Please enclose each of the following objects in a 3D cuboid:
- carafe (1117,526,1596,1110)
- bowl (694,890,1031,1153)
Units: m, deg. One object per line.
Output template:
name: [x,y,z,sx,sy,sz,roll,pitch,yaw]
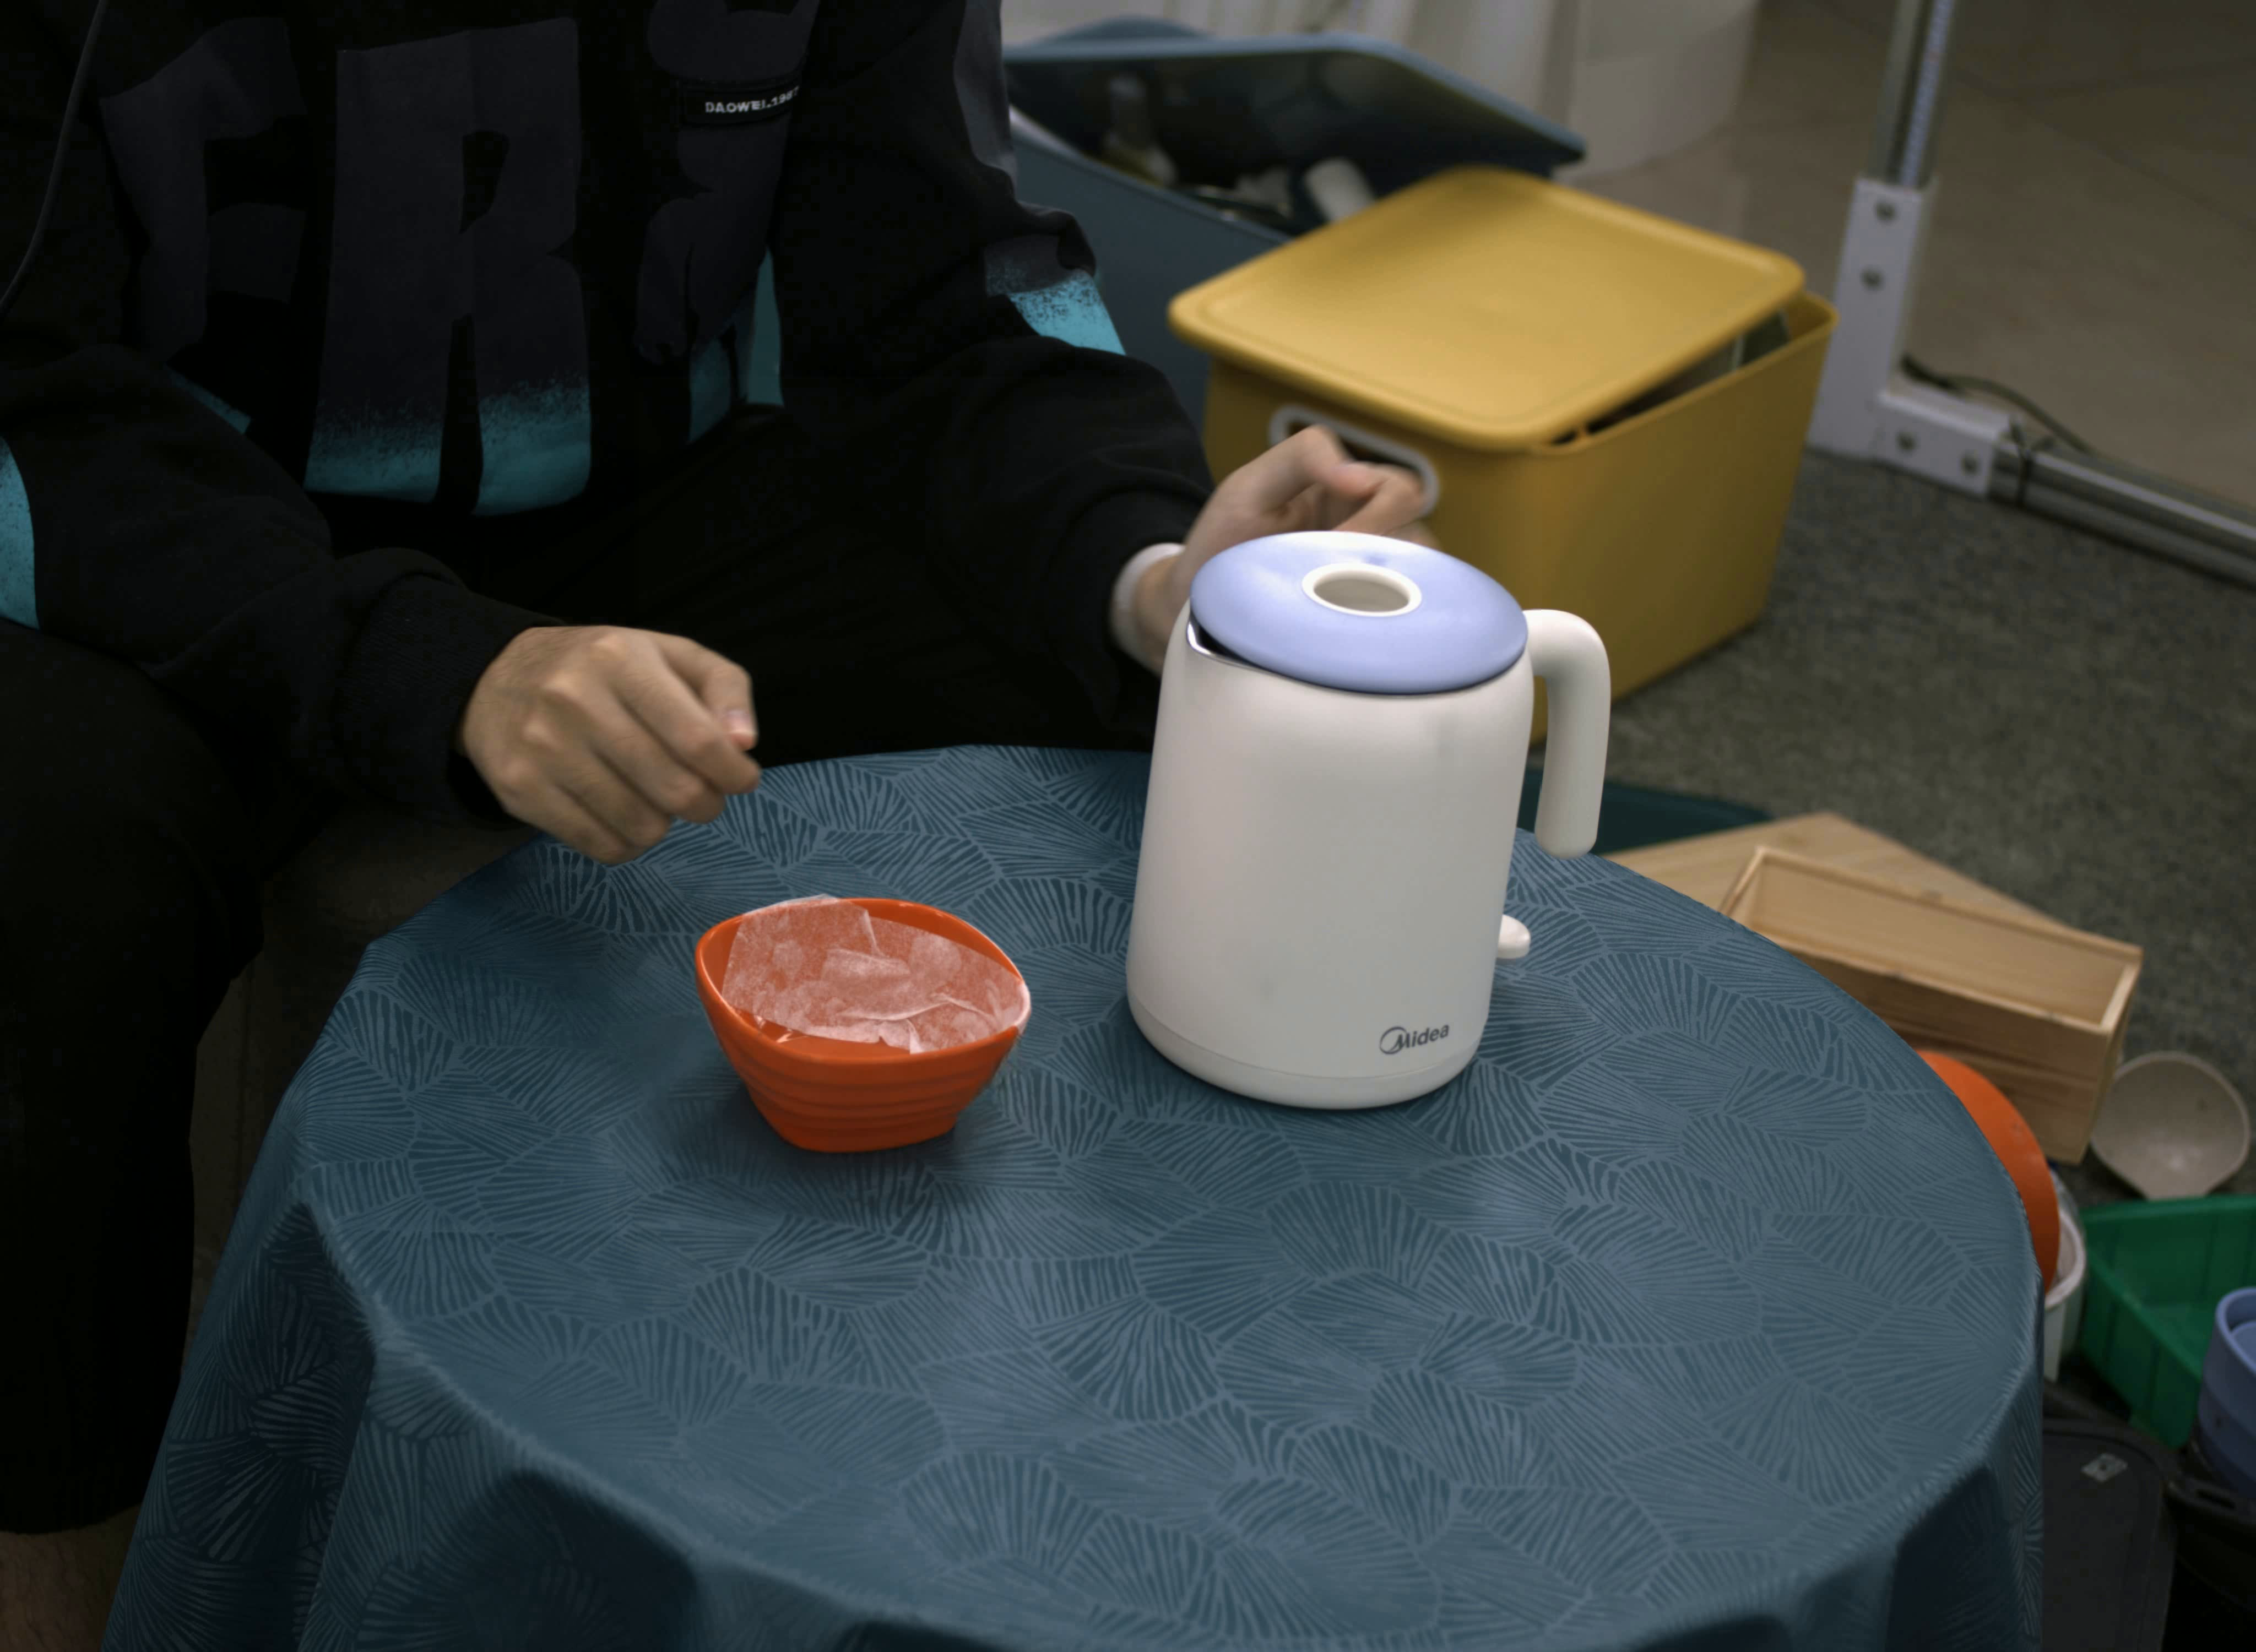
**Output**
carafe: [0.090,-0.007,1.888,0.190,0.182,0.133,-9,32,-34]
bowl: [-0.093,0.071,1.822,0.118,0.051,0.119,4,29,-3]
